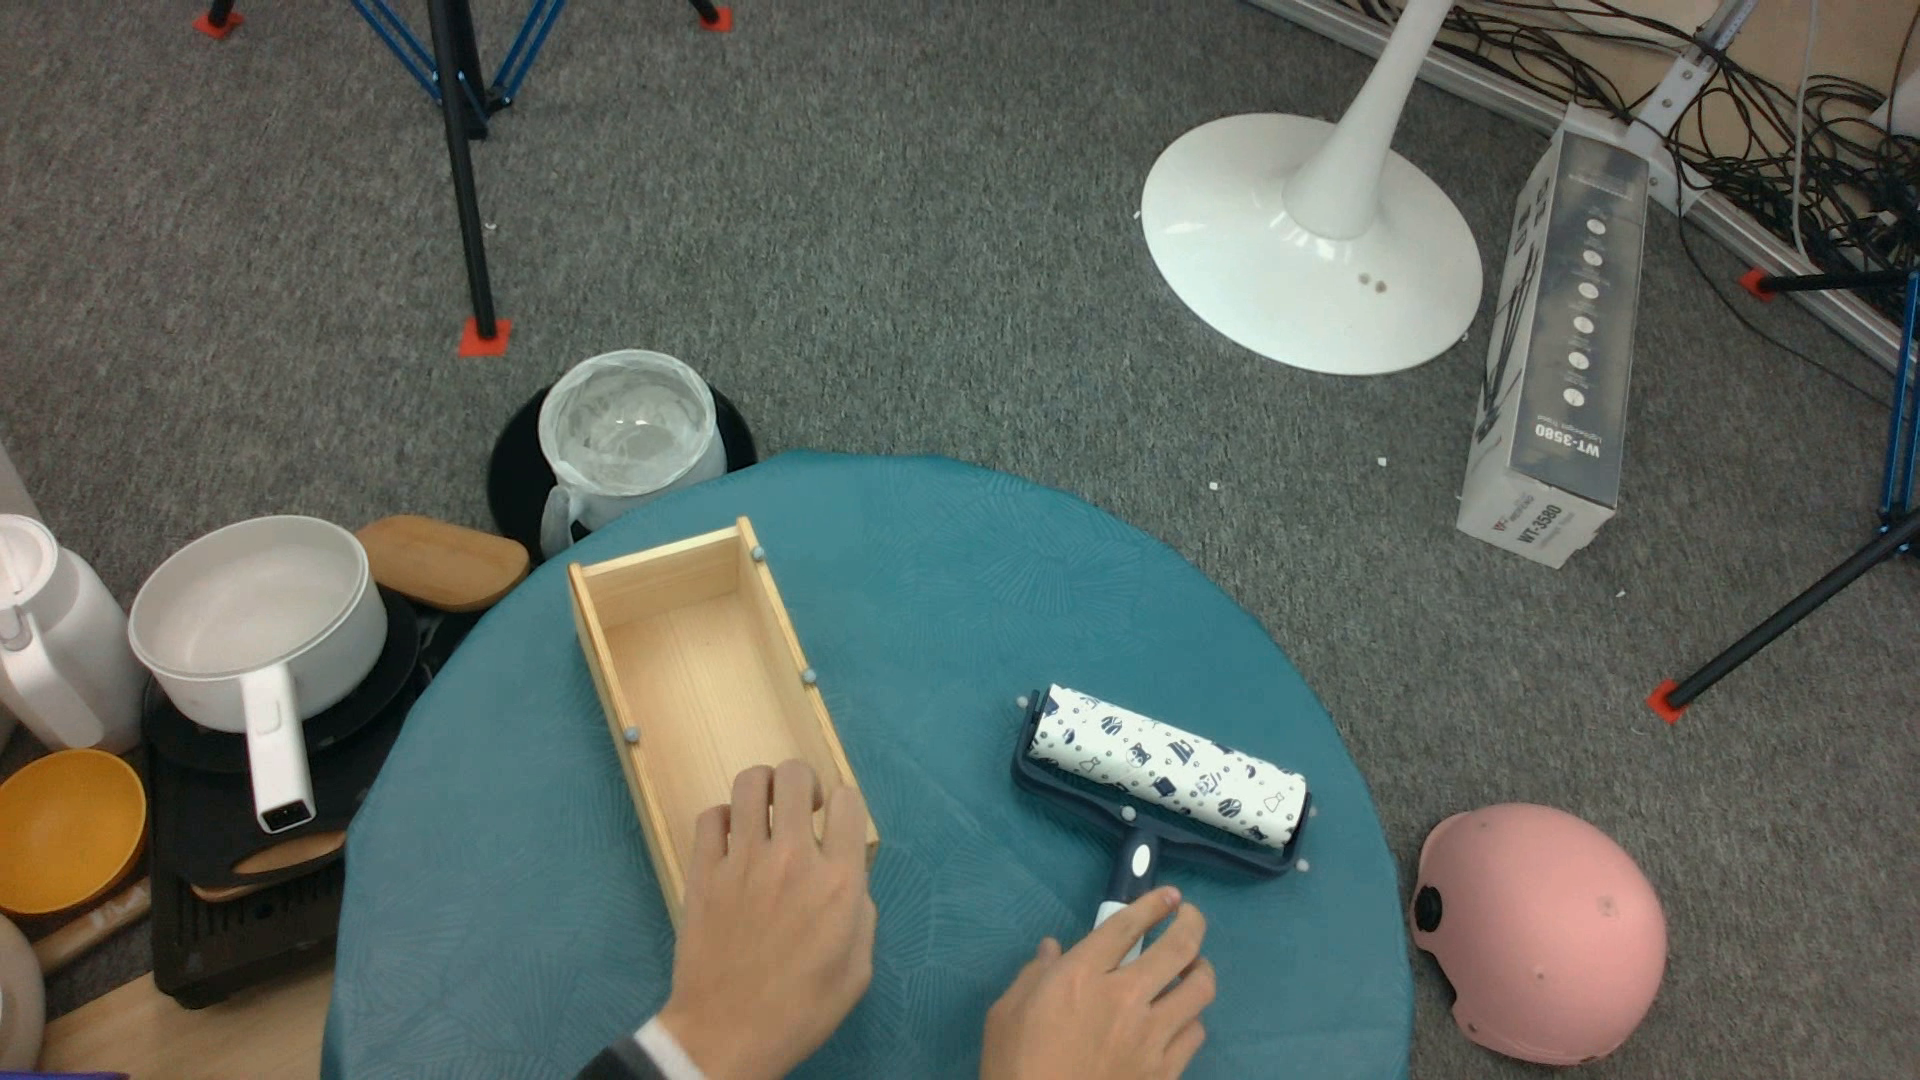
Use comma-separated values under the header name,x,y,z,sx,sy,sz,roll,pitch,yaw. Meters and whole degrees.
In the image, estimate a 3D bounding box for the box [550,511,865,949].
name,x,y,z,sx,sy,sz,roll,pitch,yaw
box,-0.144,0.102,0.770,0.108,0.080,0.212,-17,63,-20

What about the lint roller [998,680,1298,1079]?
name,x,y,z,sx,sy,sz,roll,pitch,yaw
lint roller,0.085,0.212,0.767,0.176,0.050,0.248,20,57,1
